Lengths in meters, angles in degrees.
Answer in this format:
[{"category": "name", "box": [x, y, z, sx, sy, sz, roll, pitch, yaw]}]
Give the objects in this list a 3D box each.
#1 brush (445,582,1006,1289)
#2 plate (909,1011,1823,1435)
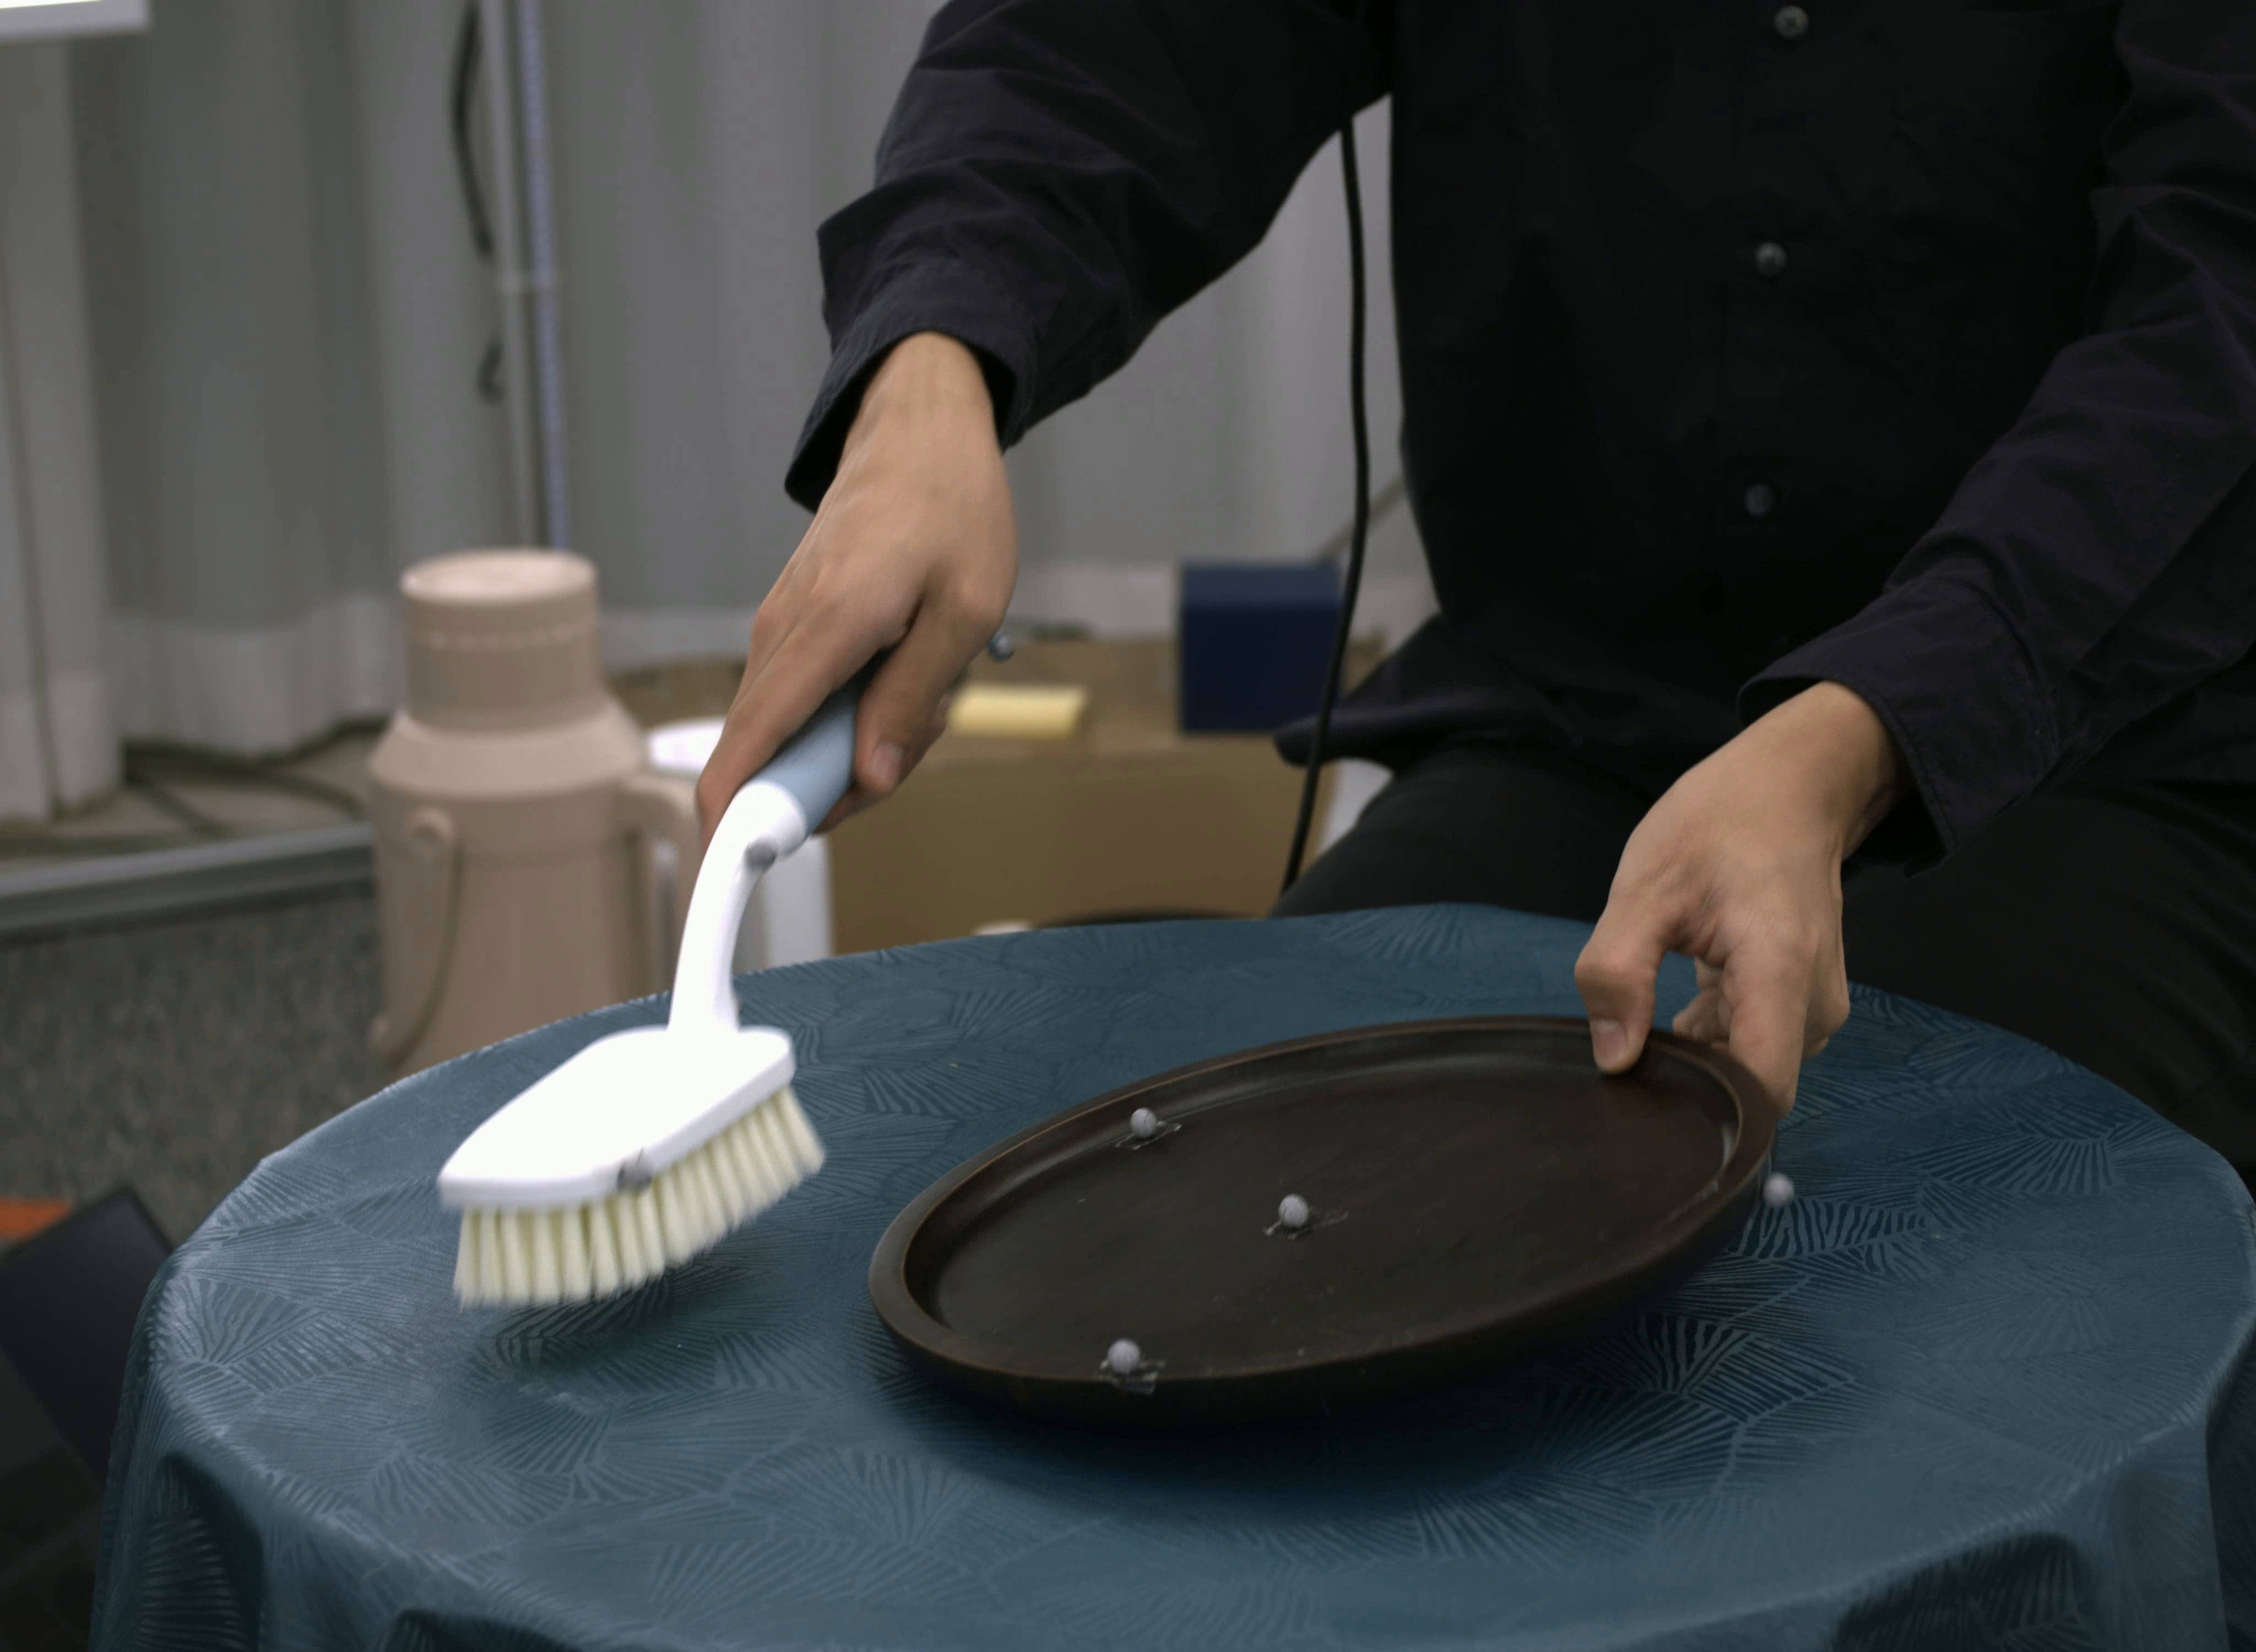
[{"category": "brush", "box": [-0.100, 0.044, 1.567, 0.083, 0.085, 0.323, 31, 42, 6]}, {"category": "plate", "box": [0.066, 0.106, 1.446, 0.254, 0.029, 0.256, -13, 15, 2]}]
